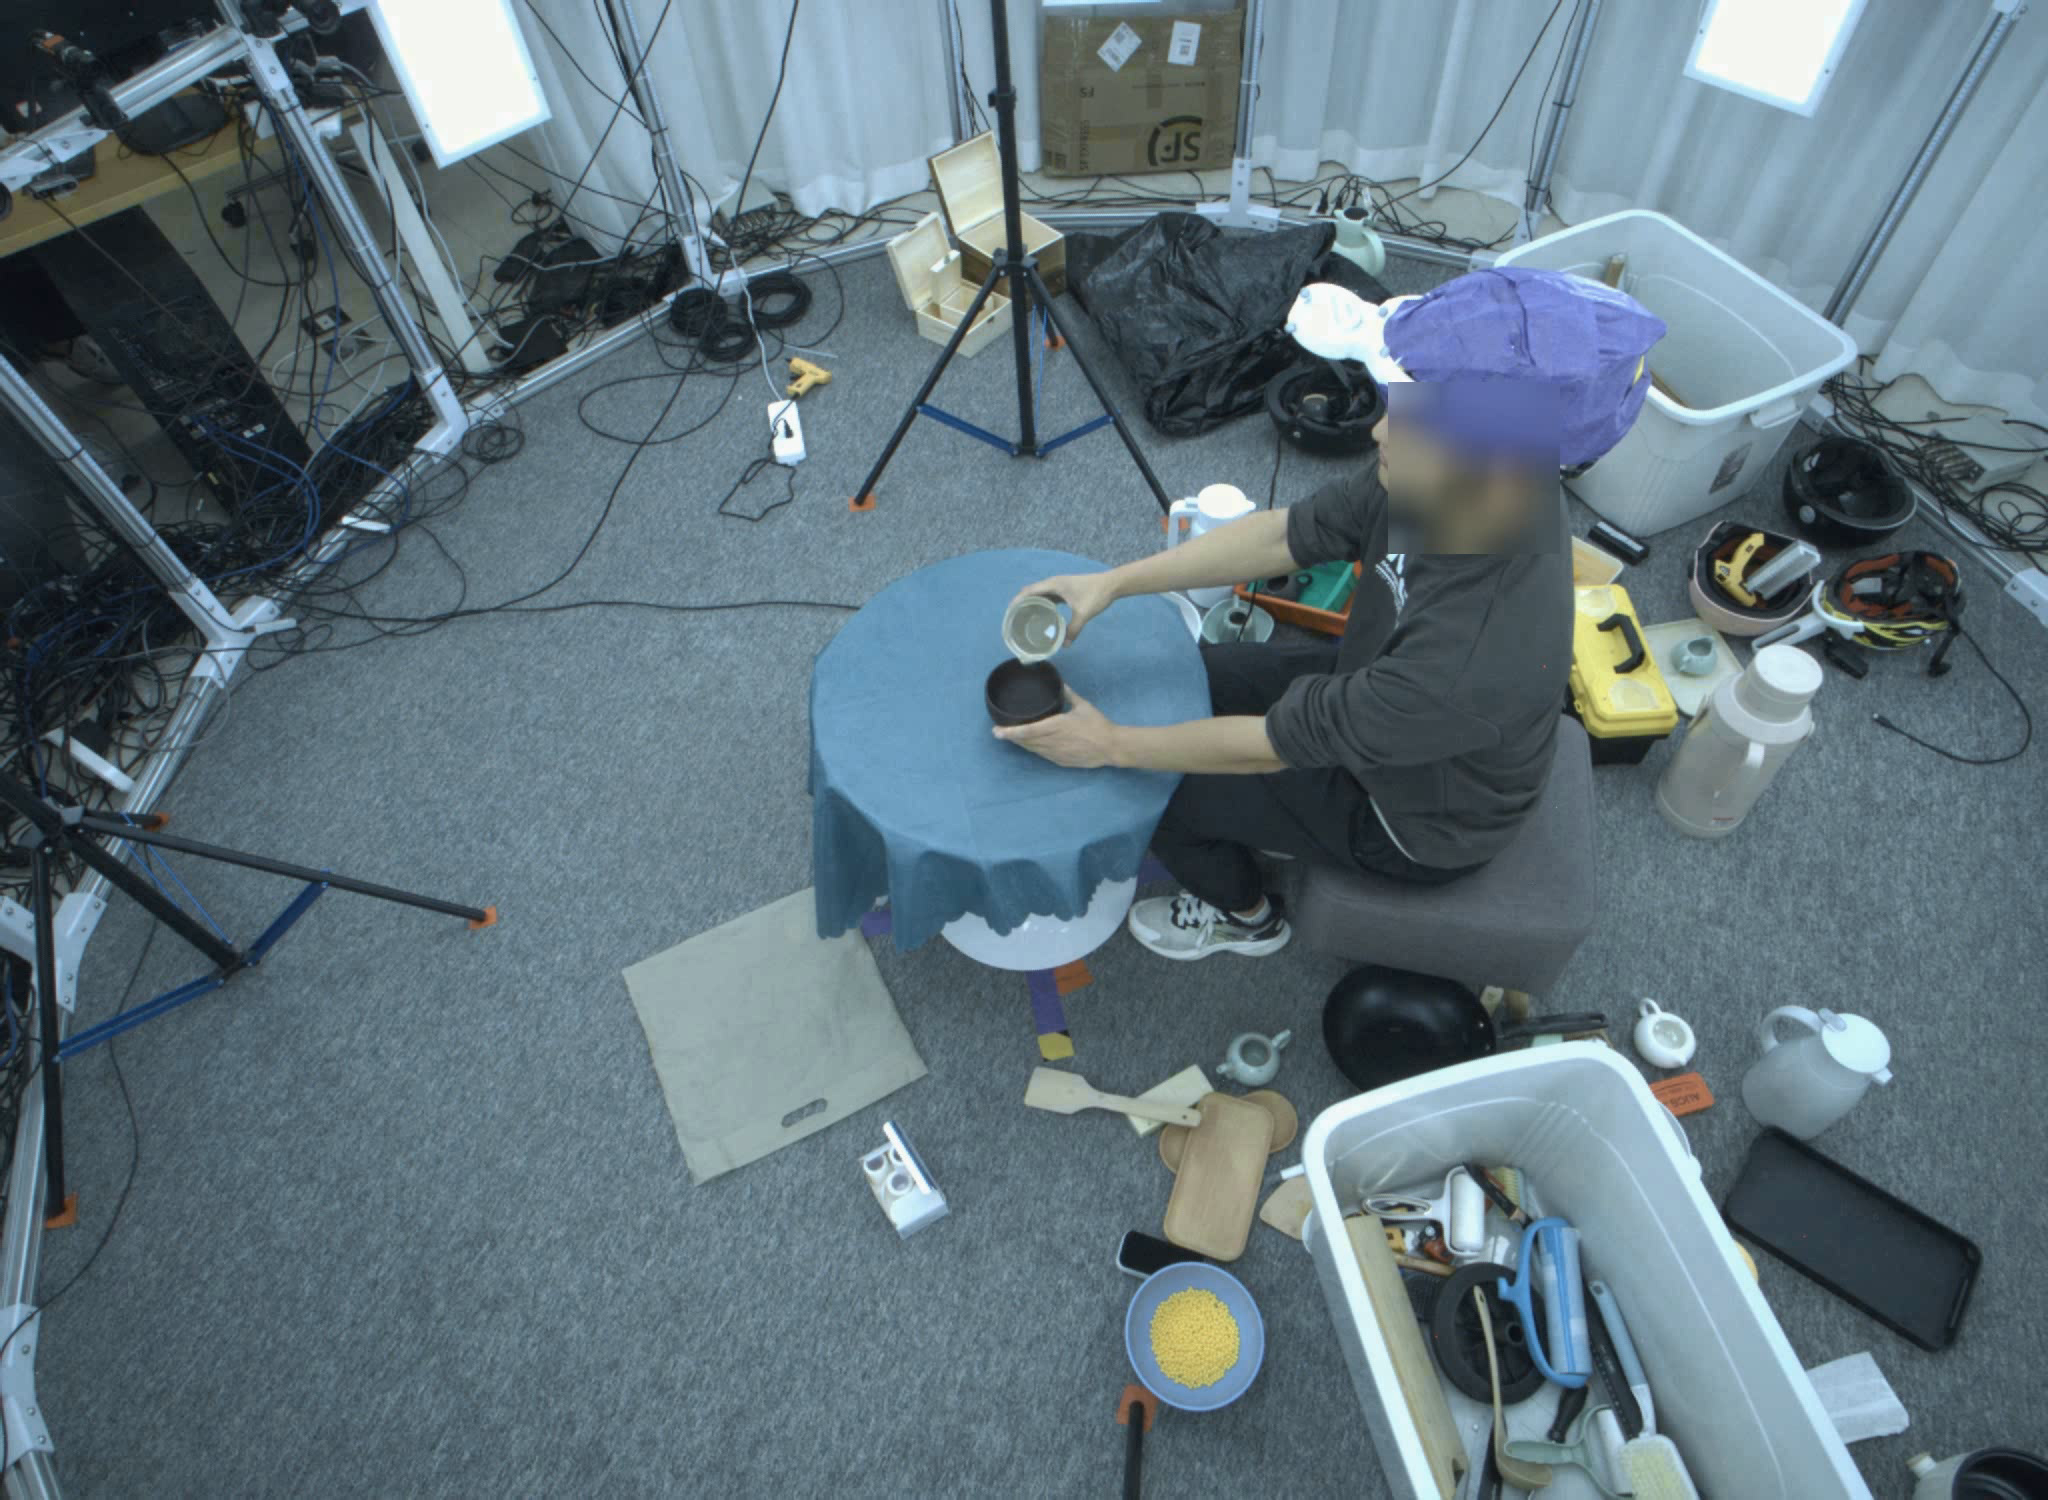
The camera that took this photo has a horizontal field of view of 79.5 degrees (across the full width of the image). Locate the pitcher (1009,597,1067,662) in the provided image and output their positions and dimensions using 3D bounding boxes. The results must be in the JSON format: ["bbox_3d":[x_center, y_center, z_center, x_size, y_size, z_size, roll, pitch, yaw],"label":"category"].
[{"bbox_3d":[0.021,-0.174,1.795,0.083,0.071,0.096,20,97,5],"label":"pitcher"}]

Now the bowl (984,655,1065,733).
[{"bbox_3d":[0.002,-0.073,1.793,0.118,0.071,0.117,-2,53,3],"label":"bowl"}]
